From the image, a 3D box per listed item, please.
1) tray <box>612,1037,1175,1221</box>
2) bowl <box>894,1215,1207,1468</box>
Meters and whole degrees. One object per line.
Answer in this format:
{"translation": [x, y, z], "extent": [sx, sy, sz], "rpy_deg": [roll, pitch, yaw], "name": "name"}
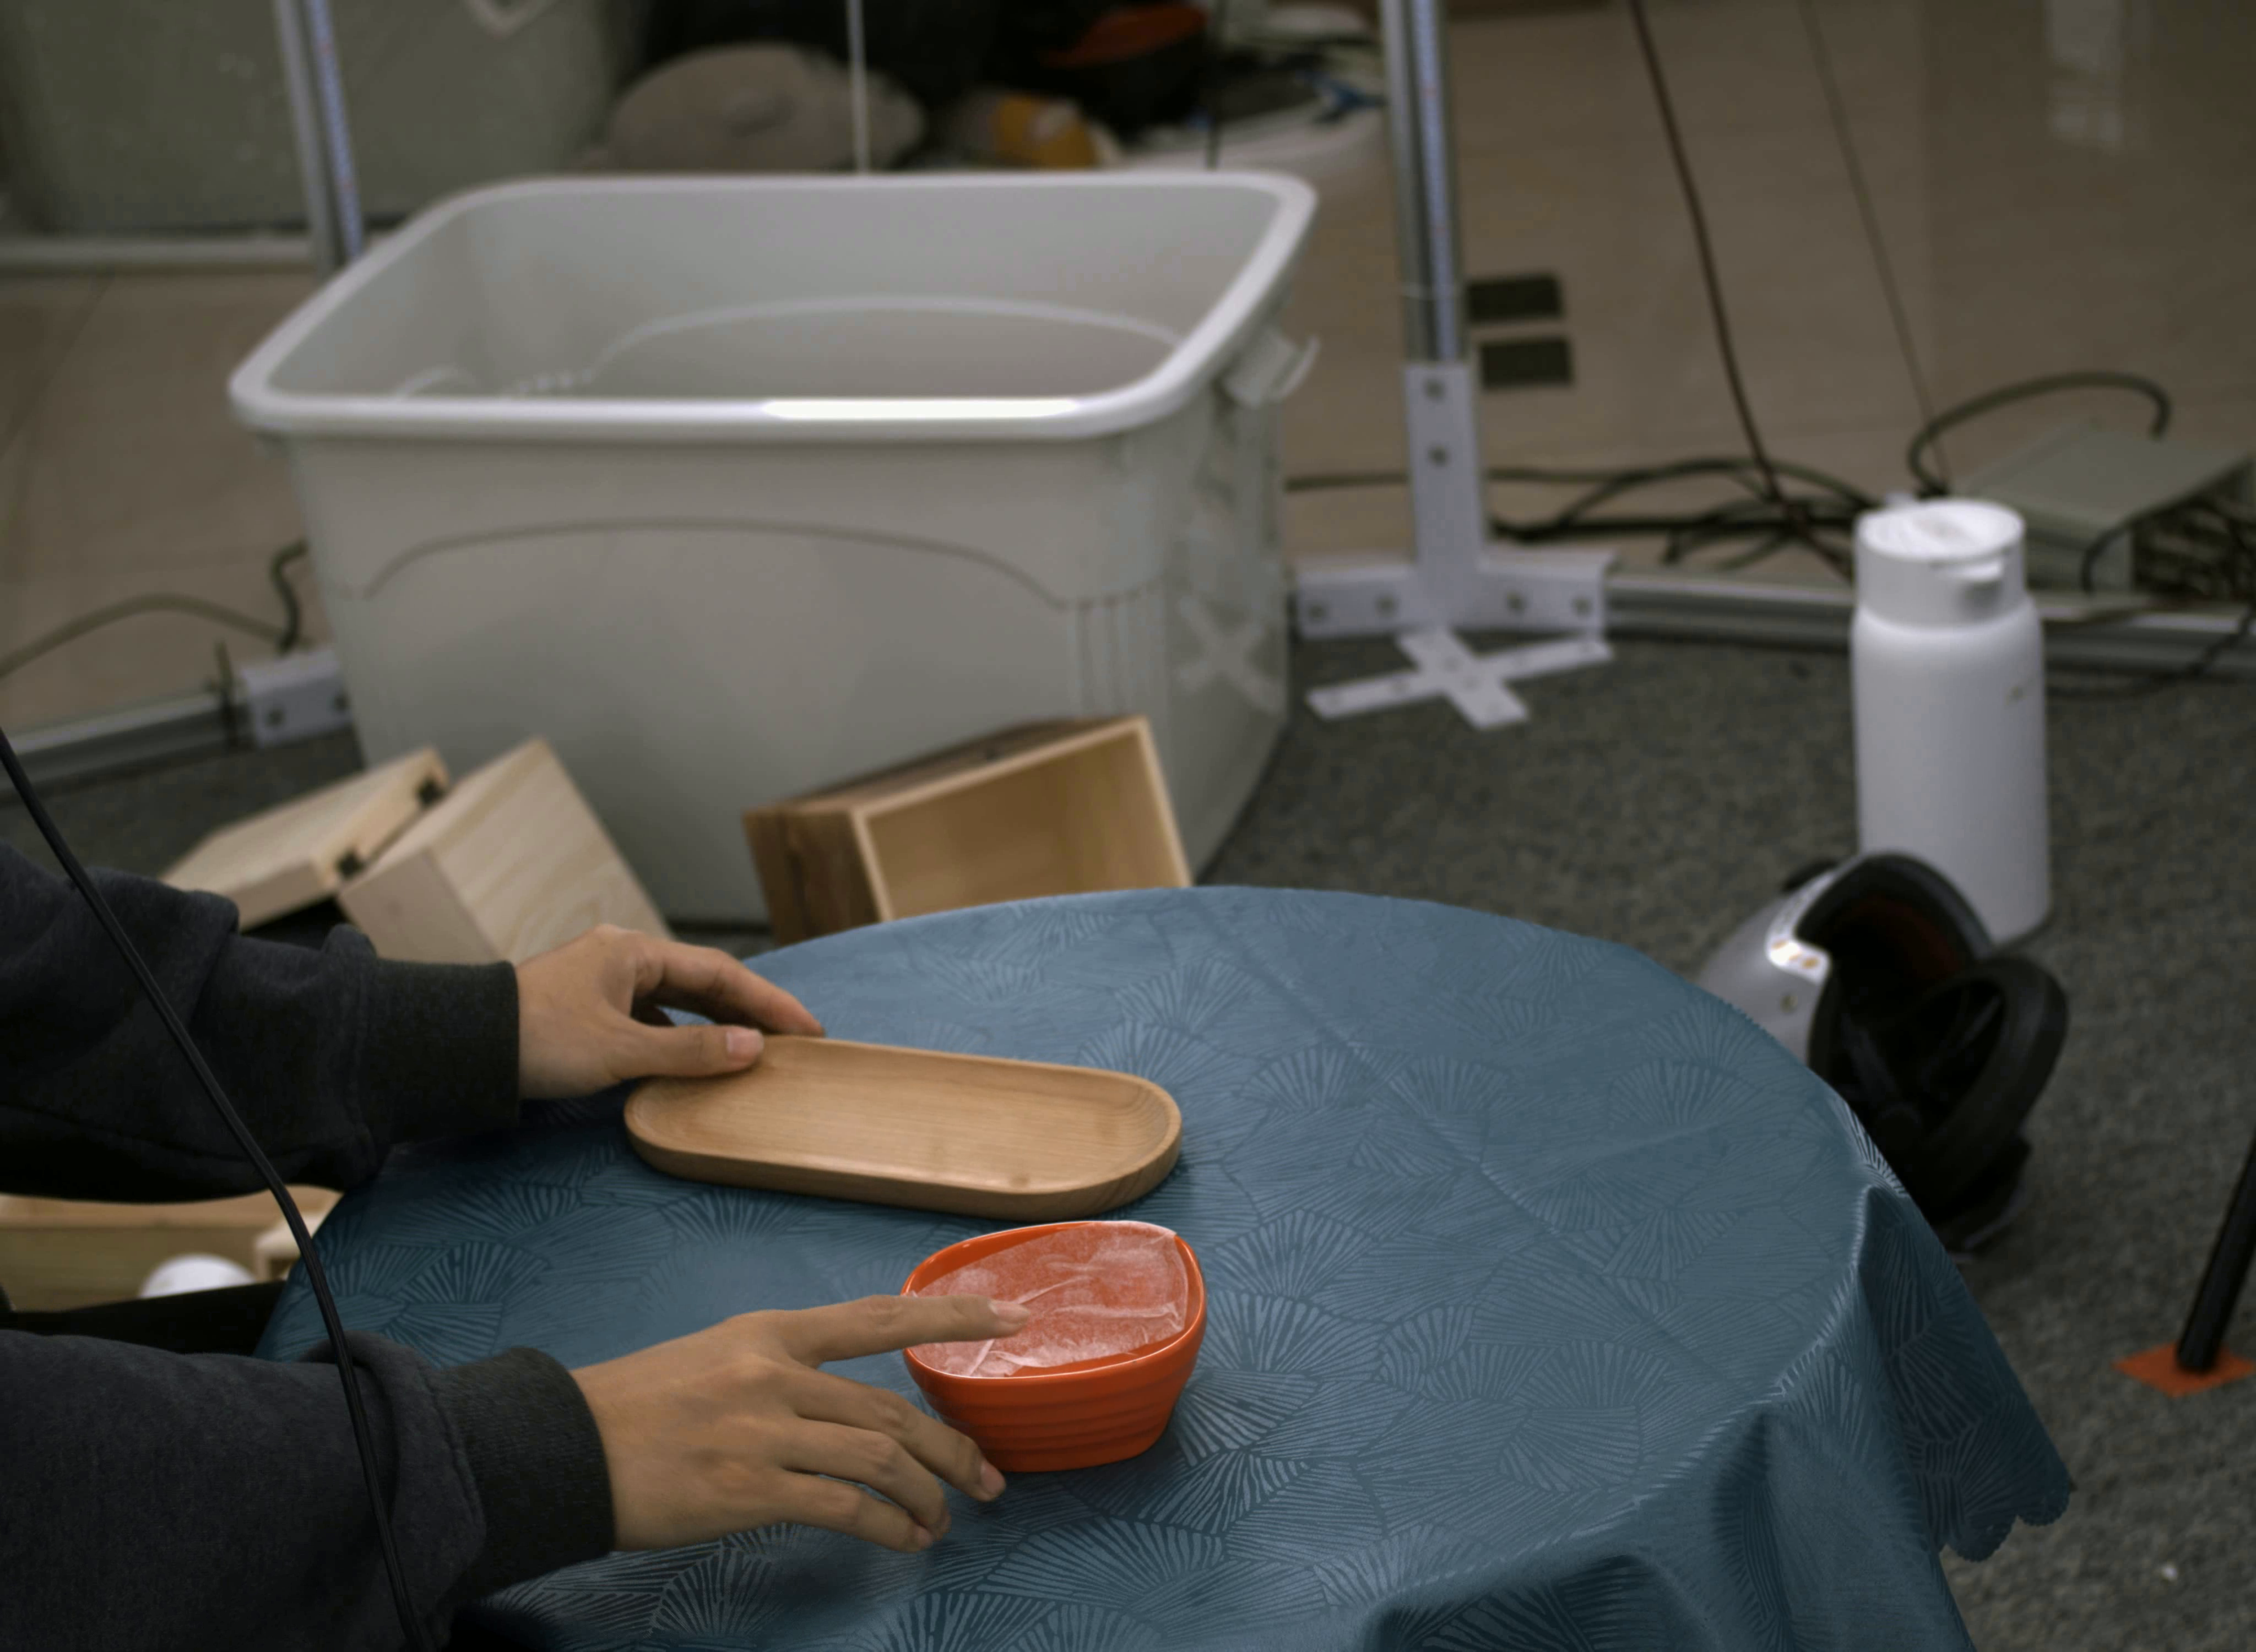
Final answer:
{"translation": [-0.091, 0.117, 2.196], "extent": [0.230, 0.020, 0.100], "rpy_deg": [4, 26, 23], "name": "tray"}
{"translation": [-0.025, 0.185, 1.989], "extent": [0.119, 0.052, 0.117], "rpy_deg": [-5, 26, 2], "name": "bowl"}
